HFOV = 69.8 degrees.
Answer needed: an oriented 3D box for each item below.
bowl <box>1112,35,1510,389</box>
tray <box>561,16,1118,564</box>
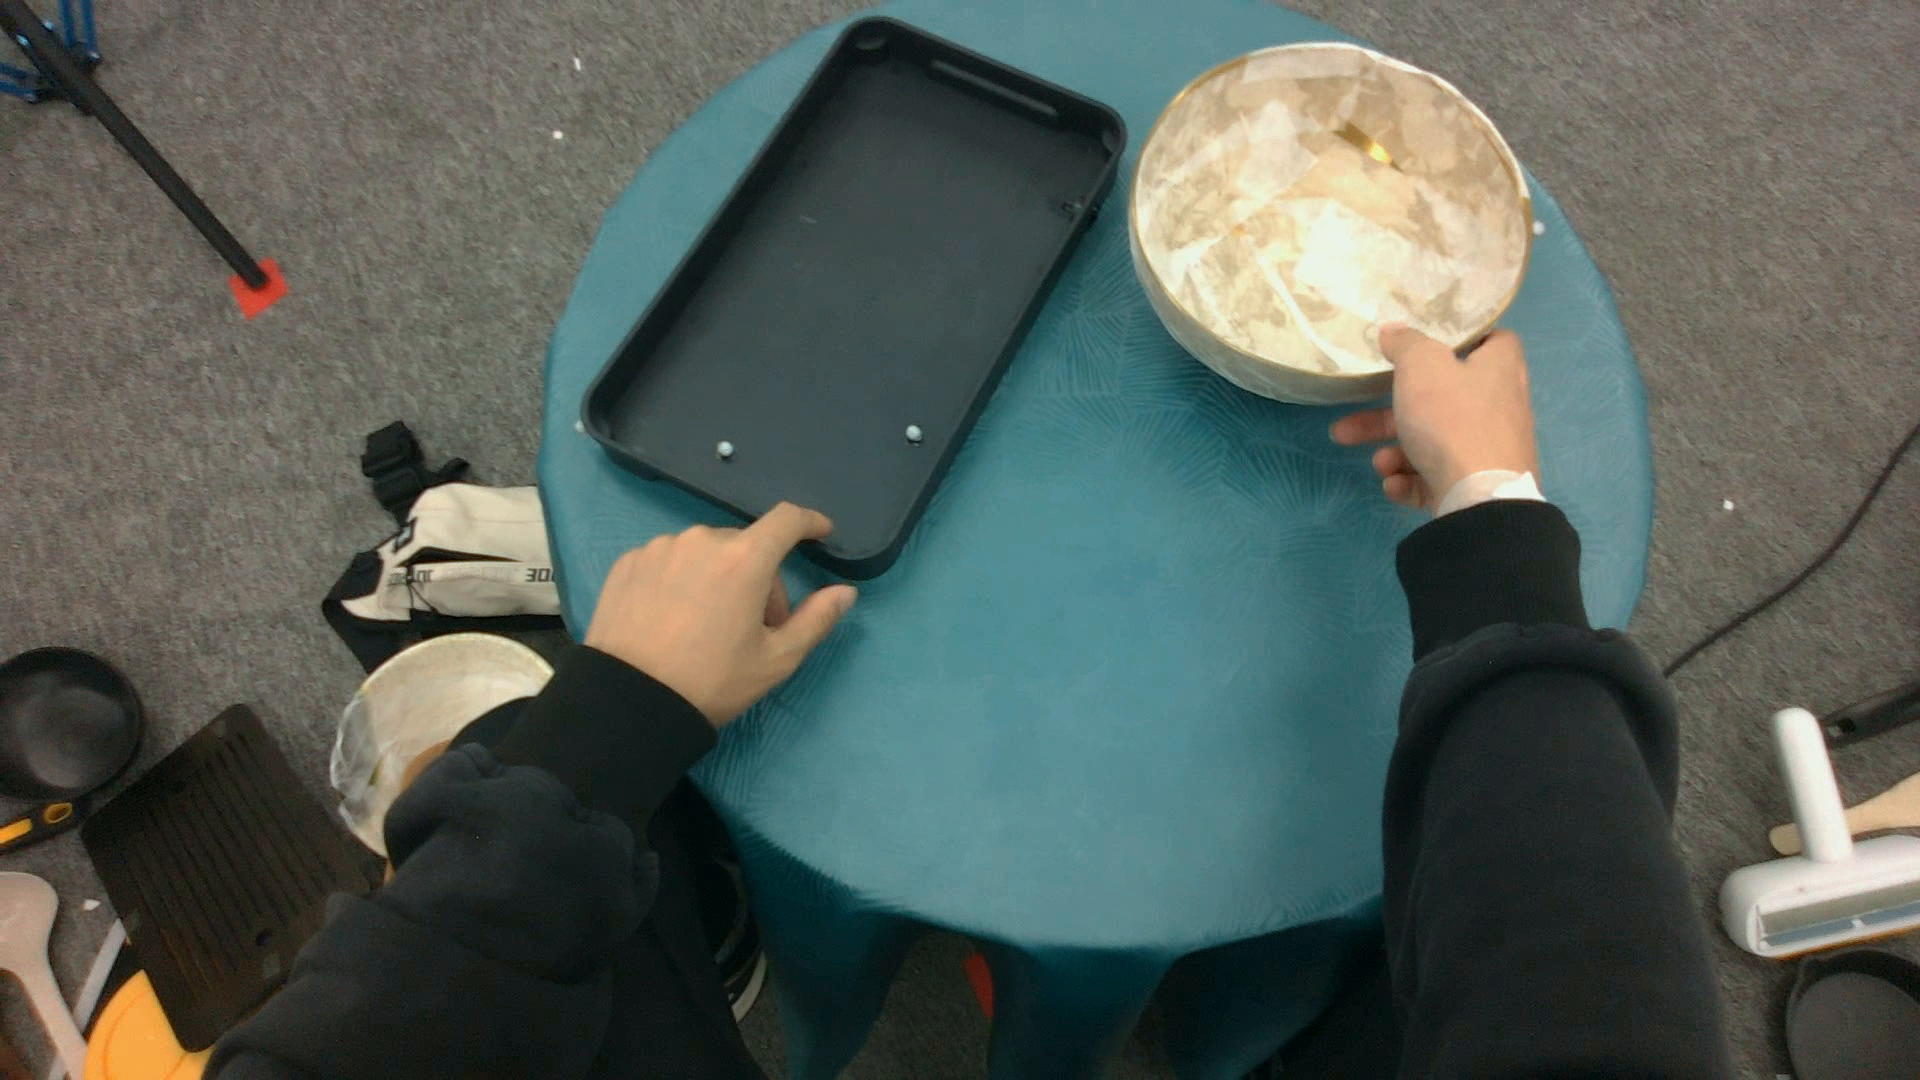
[{"bbox_3d":[0.174,-0.159,0.736,0.215,0.094,0.215,1,67,-2],"label":"bowl"},{"bbox_3d":[-0.058,-0.150,0.764,0.184,0.037,0.319,26,67,12],"label":"tray"}]
